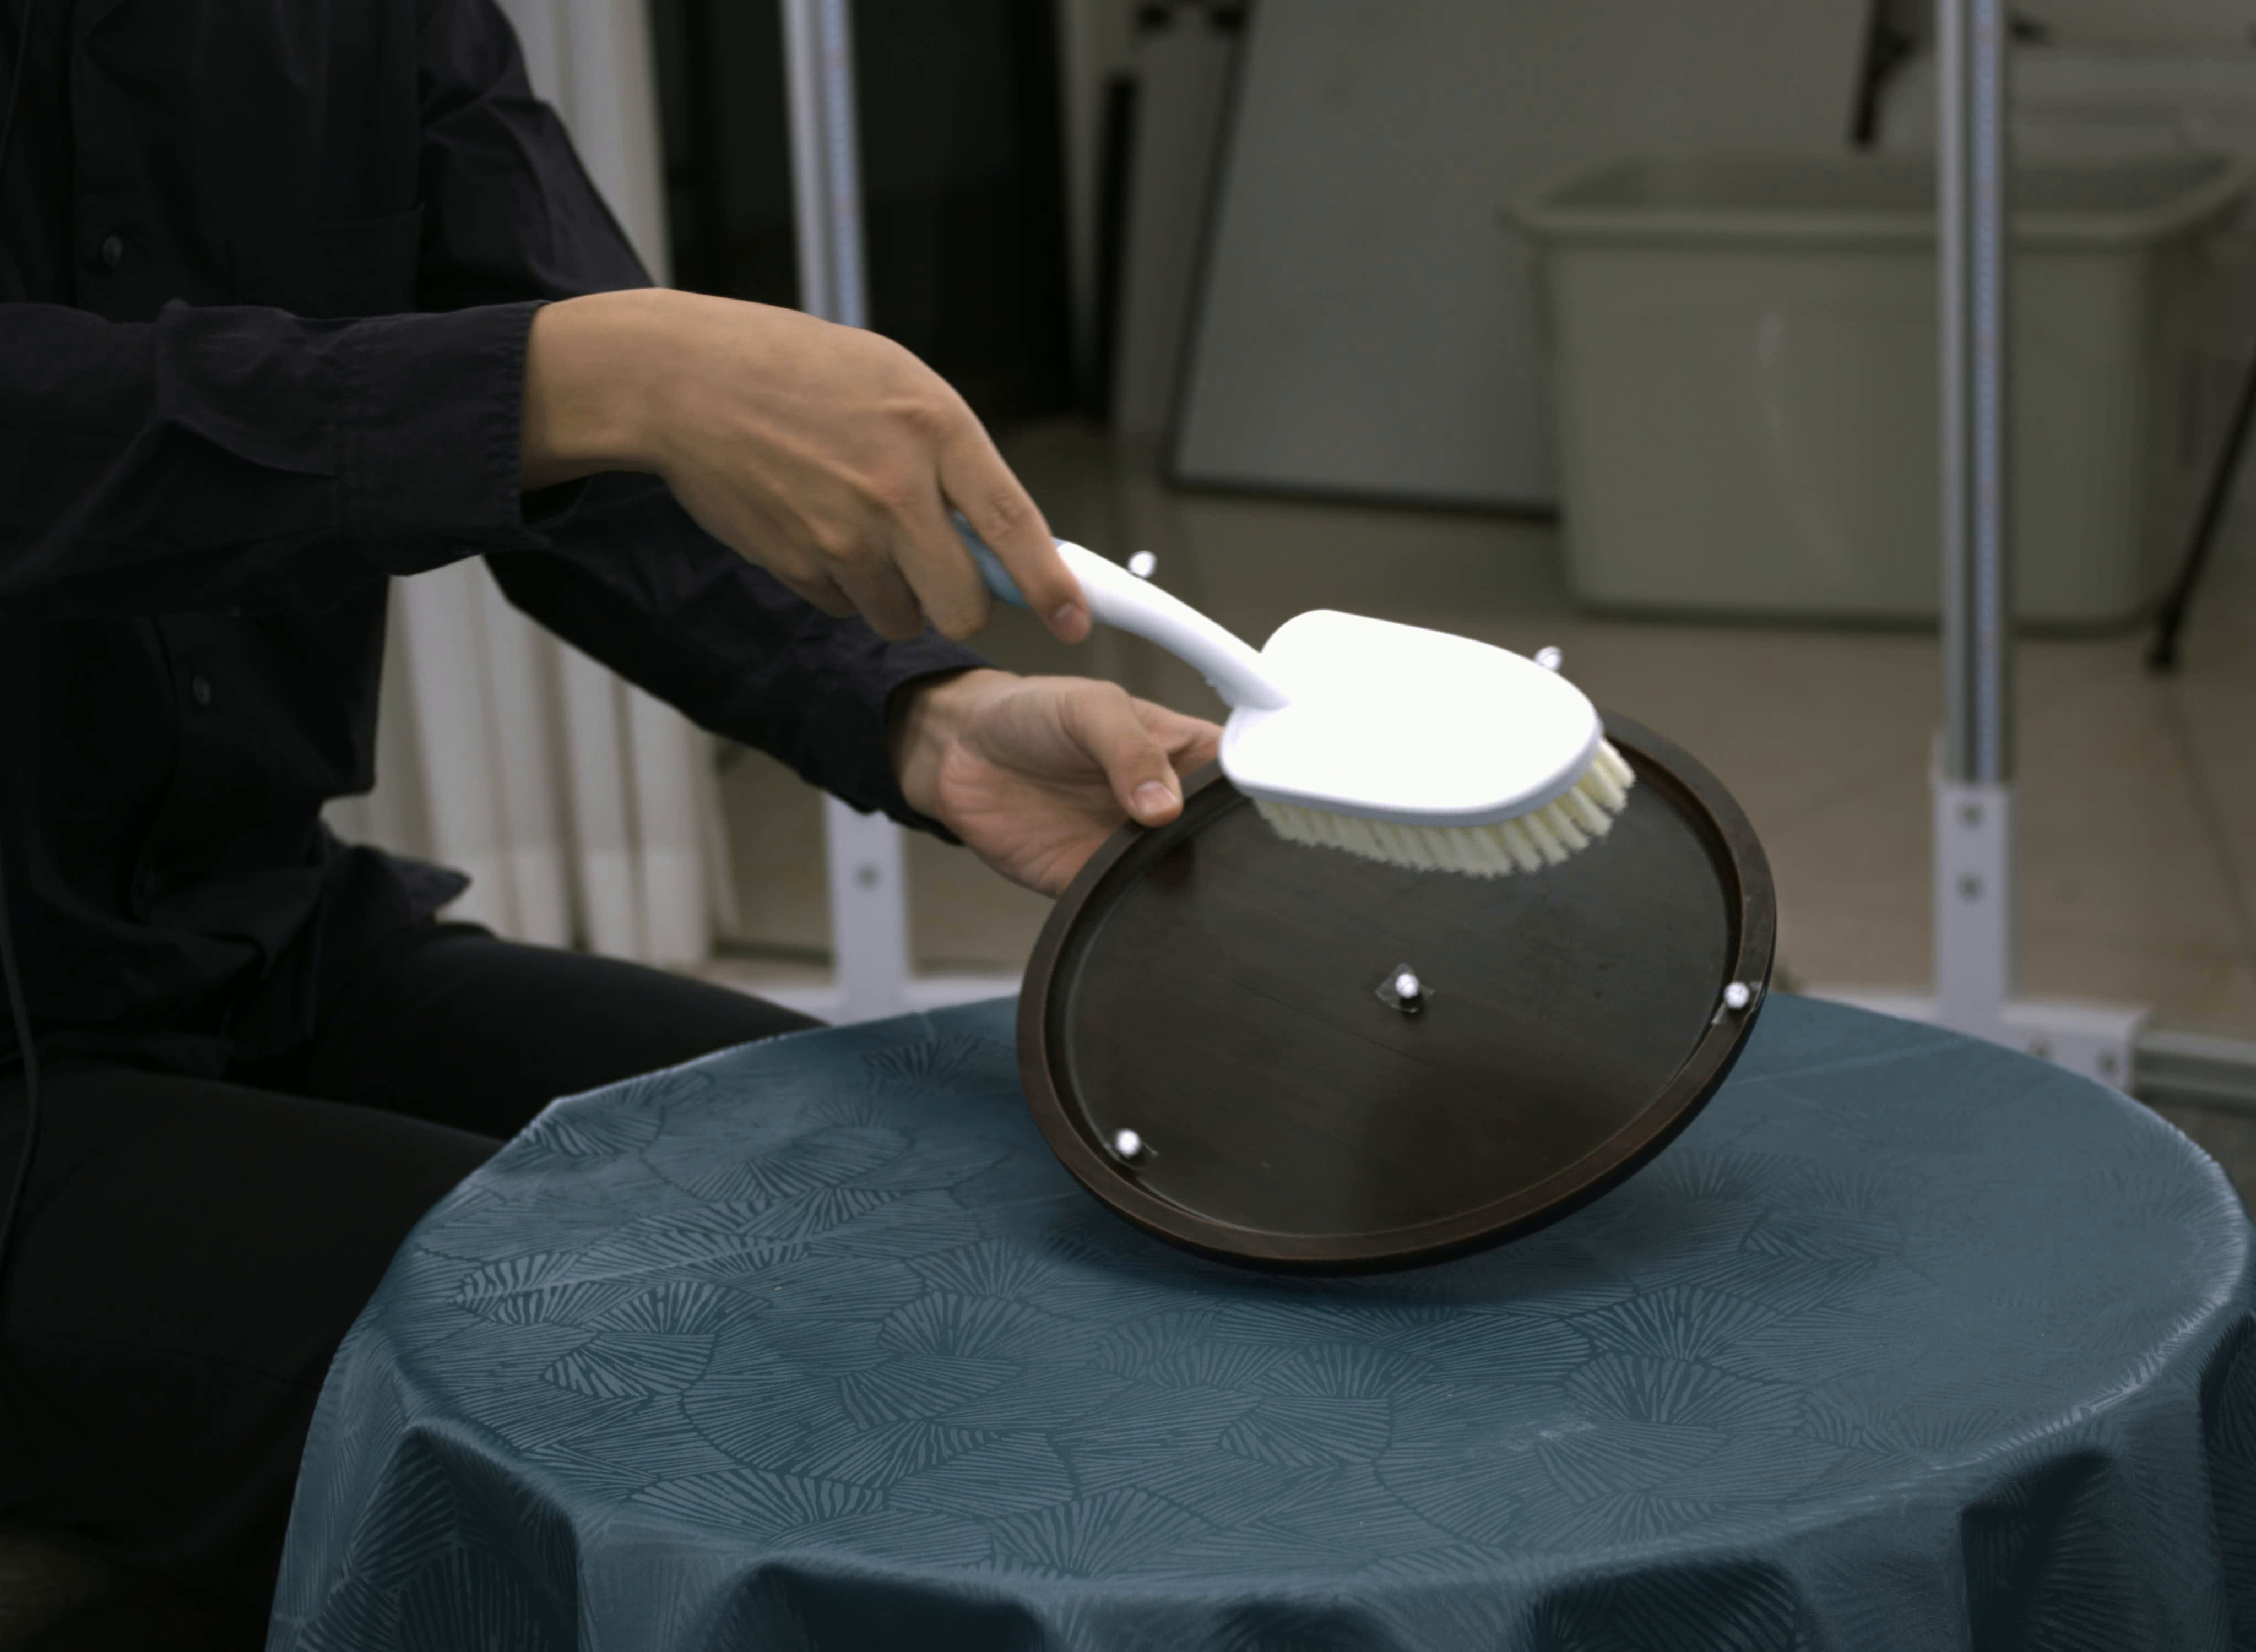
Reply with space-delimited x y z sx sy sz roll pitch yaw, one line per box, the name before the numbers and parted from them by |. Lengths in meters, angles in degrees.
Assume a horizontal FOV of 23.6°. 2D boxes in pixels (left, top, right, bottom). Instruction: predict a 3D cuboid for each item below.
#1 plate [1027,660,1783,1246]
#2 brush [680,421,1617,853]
plate | 0.090 0.039 1.747 0.253 0.029 0.257 -13 43 11
brush | 0.007 -0.062 1.721 0.326 0.085 0.082 18 30 22
